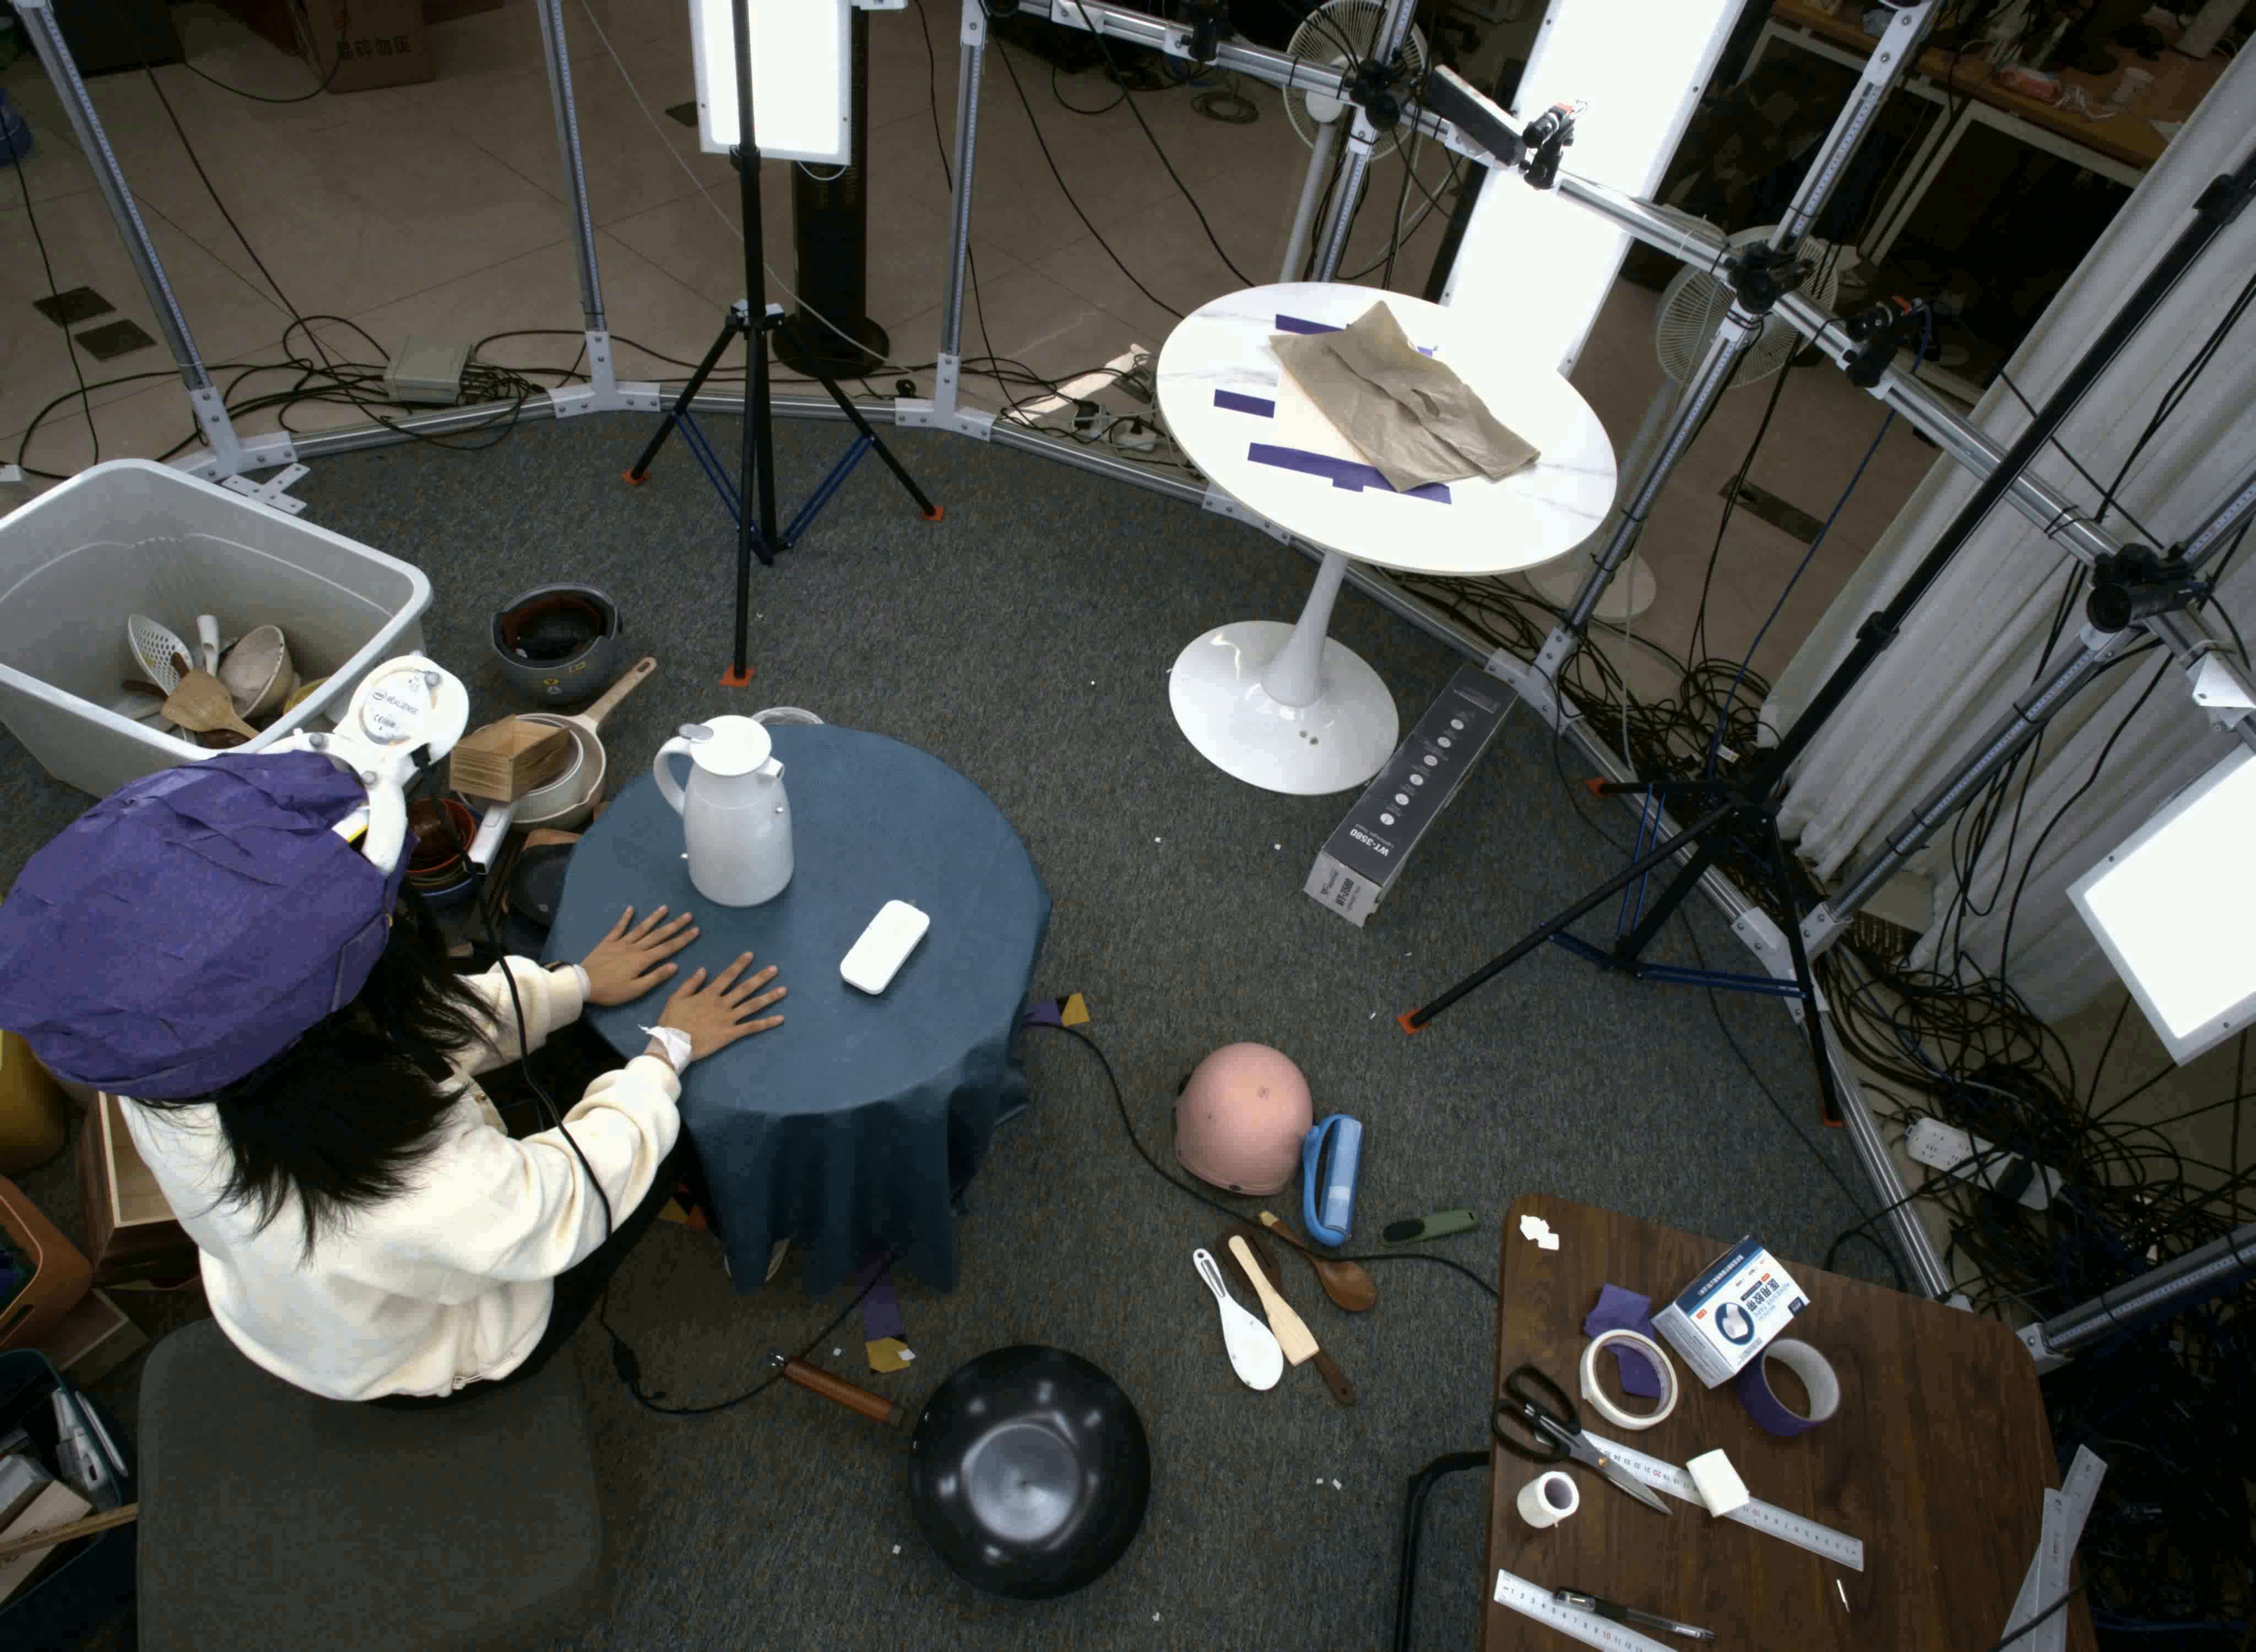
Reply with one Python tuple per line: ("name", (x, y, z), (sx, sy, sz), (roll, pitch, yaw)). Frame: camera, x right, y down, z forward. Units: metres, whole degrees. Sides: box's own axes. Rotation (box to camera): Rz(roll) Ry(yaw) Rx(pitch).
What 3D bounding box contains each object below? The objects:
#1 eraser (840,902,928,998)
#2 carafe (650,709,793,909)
("eraser", (-0.304, 0.150, 1.618), (0.062, 0.035, 0.130), (26, 51, 8))
("carafe", (-0.497, -0.032, 1.563), (0.166, 0.254, 0.131), (17, 51, 2))
